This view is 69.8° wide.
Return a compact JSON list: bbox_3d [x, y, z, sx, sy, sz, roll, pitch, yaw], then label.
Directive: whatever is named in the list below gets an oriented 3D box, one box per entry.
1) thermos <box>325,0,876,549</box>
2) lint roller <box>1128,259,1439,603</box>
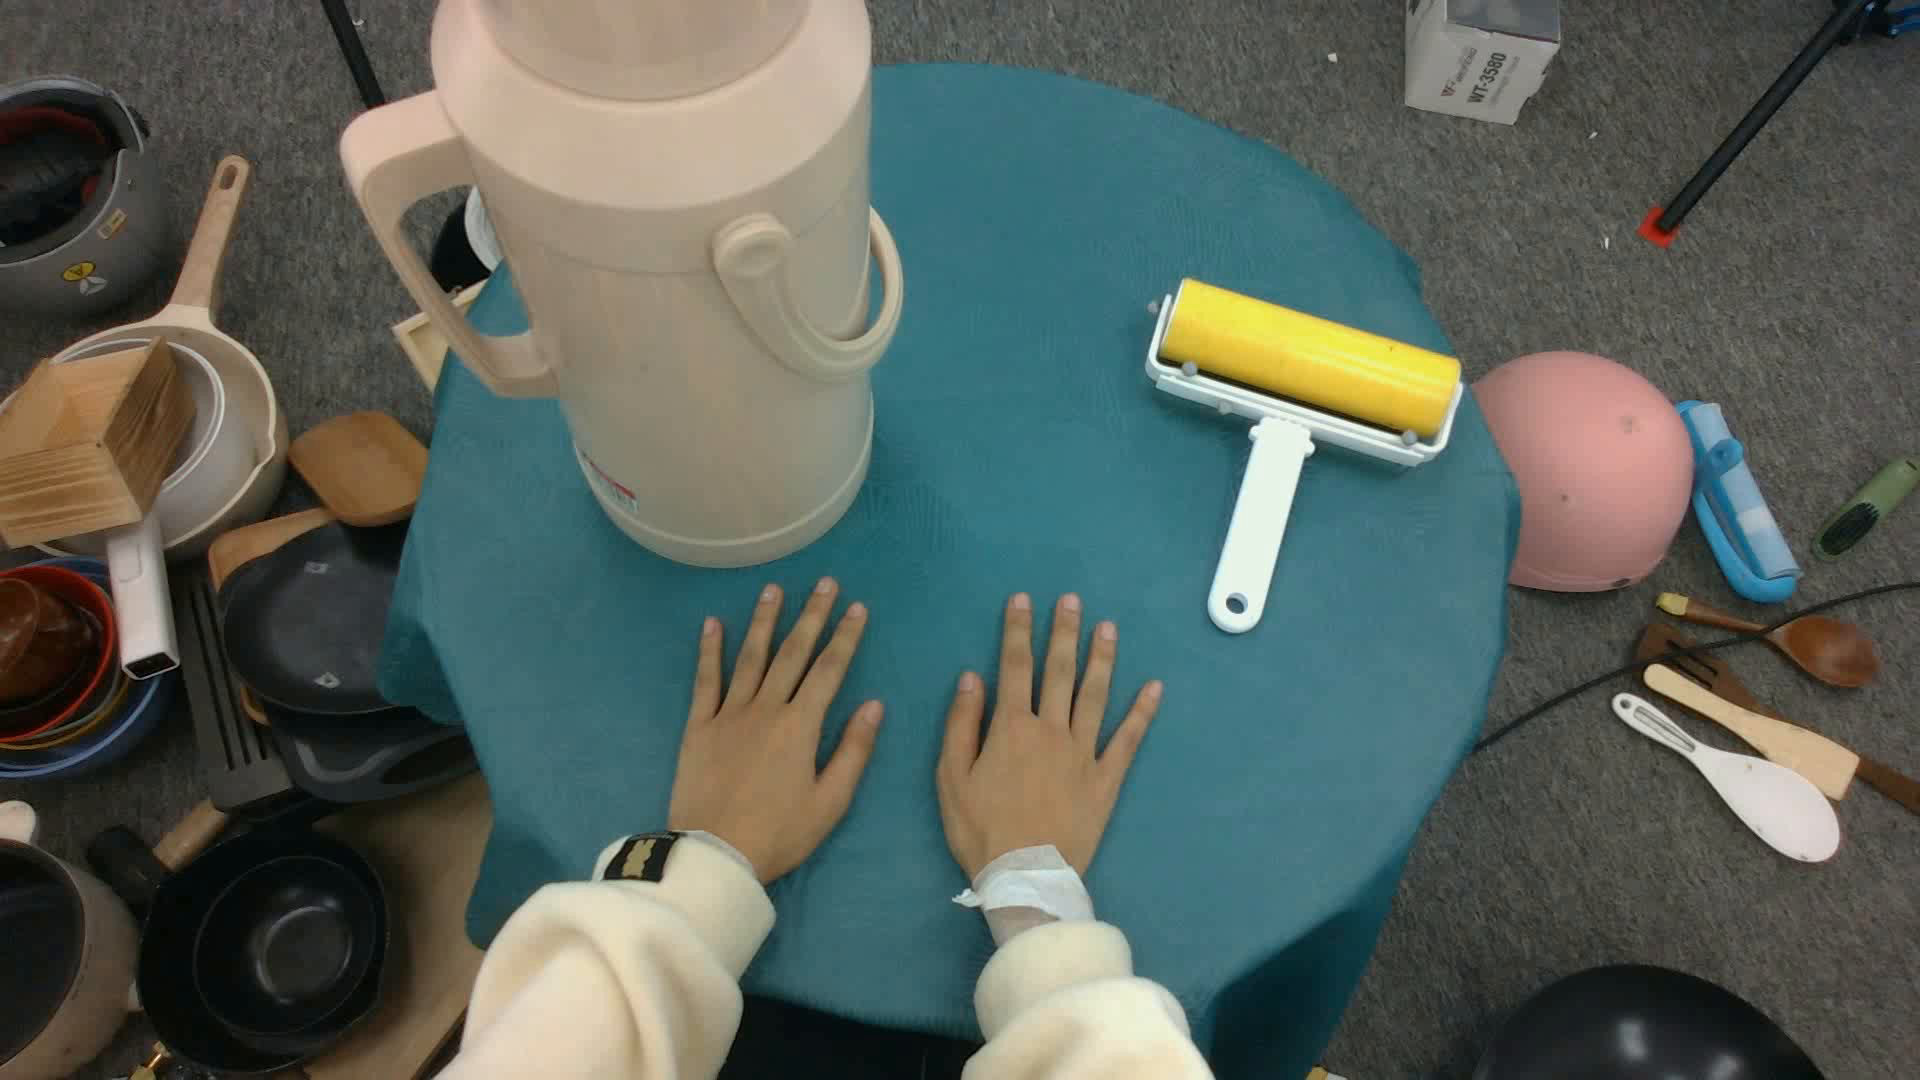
[{"bbox_3d":[-0.136,-0.144,0.583,0.207,0.404,0.175,-24,70,-15],"label":"thermos"},{"bbox_3d":[0.167,-0.057,0.758,0.174,0.051,0.193,17,59,3],"label":"lint roller"}]
